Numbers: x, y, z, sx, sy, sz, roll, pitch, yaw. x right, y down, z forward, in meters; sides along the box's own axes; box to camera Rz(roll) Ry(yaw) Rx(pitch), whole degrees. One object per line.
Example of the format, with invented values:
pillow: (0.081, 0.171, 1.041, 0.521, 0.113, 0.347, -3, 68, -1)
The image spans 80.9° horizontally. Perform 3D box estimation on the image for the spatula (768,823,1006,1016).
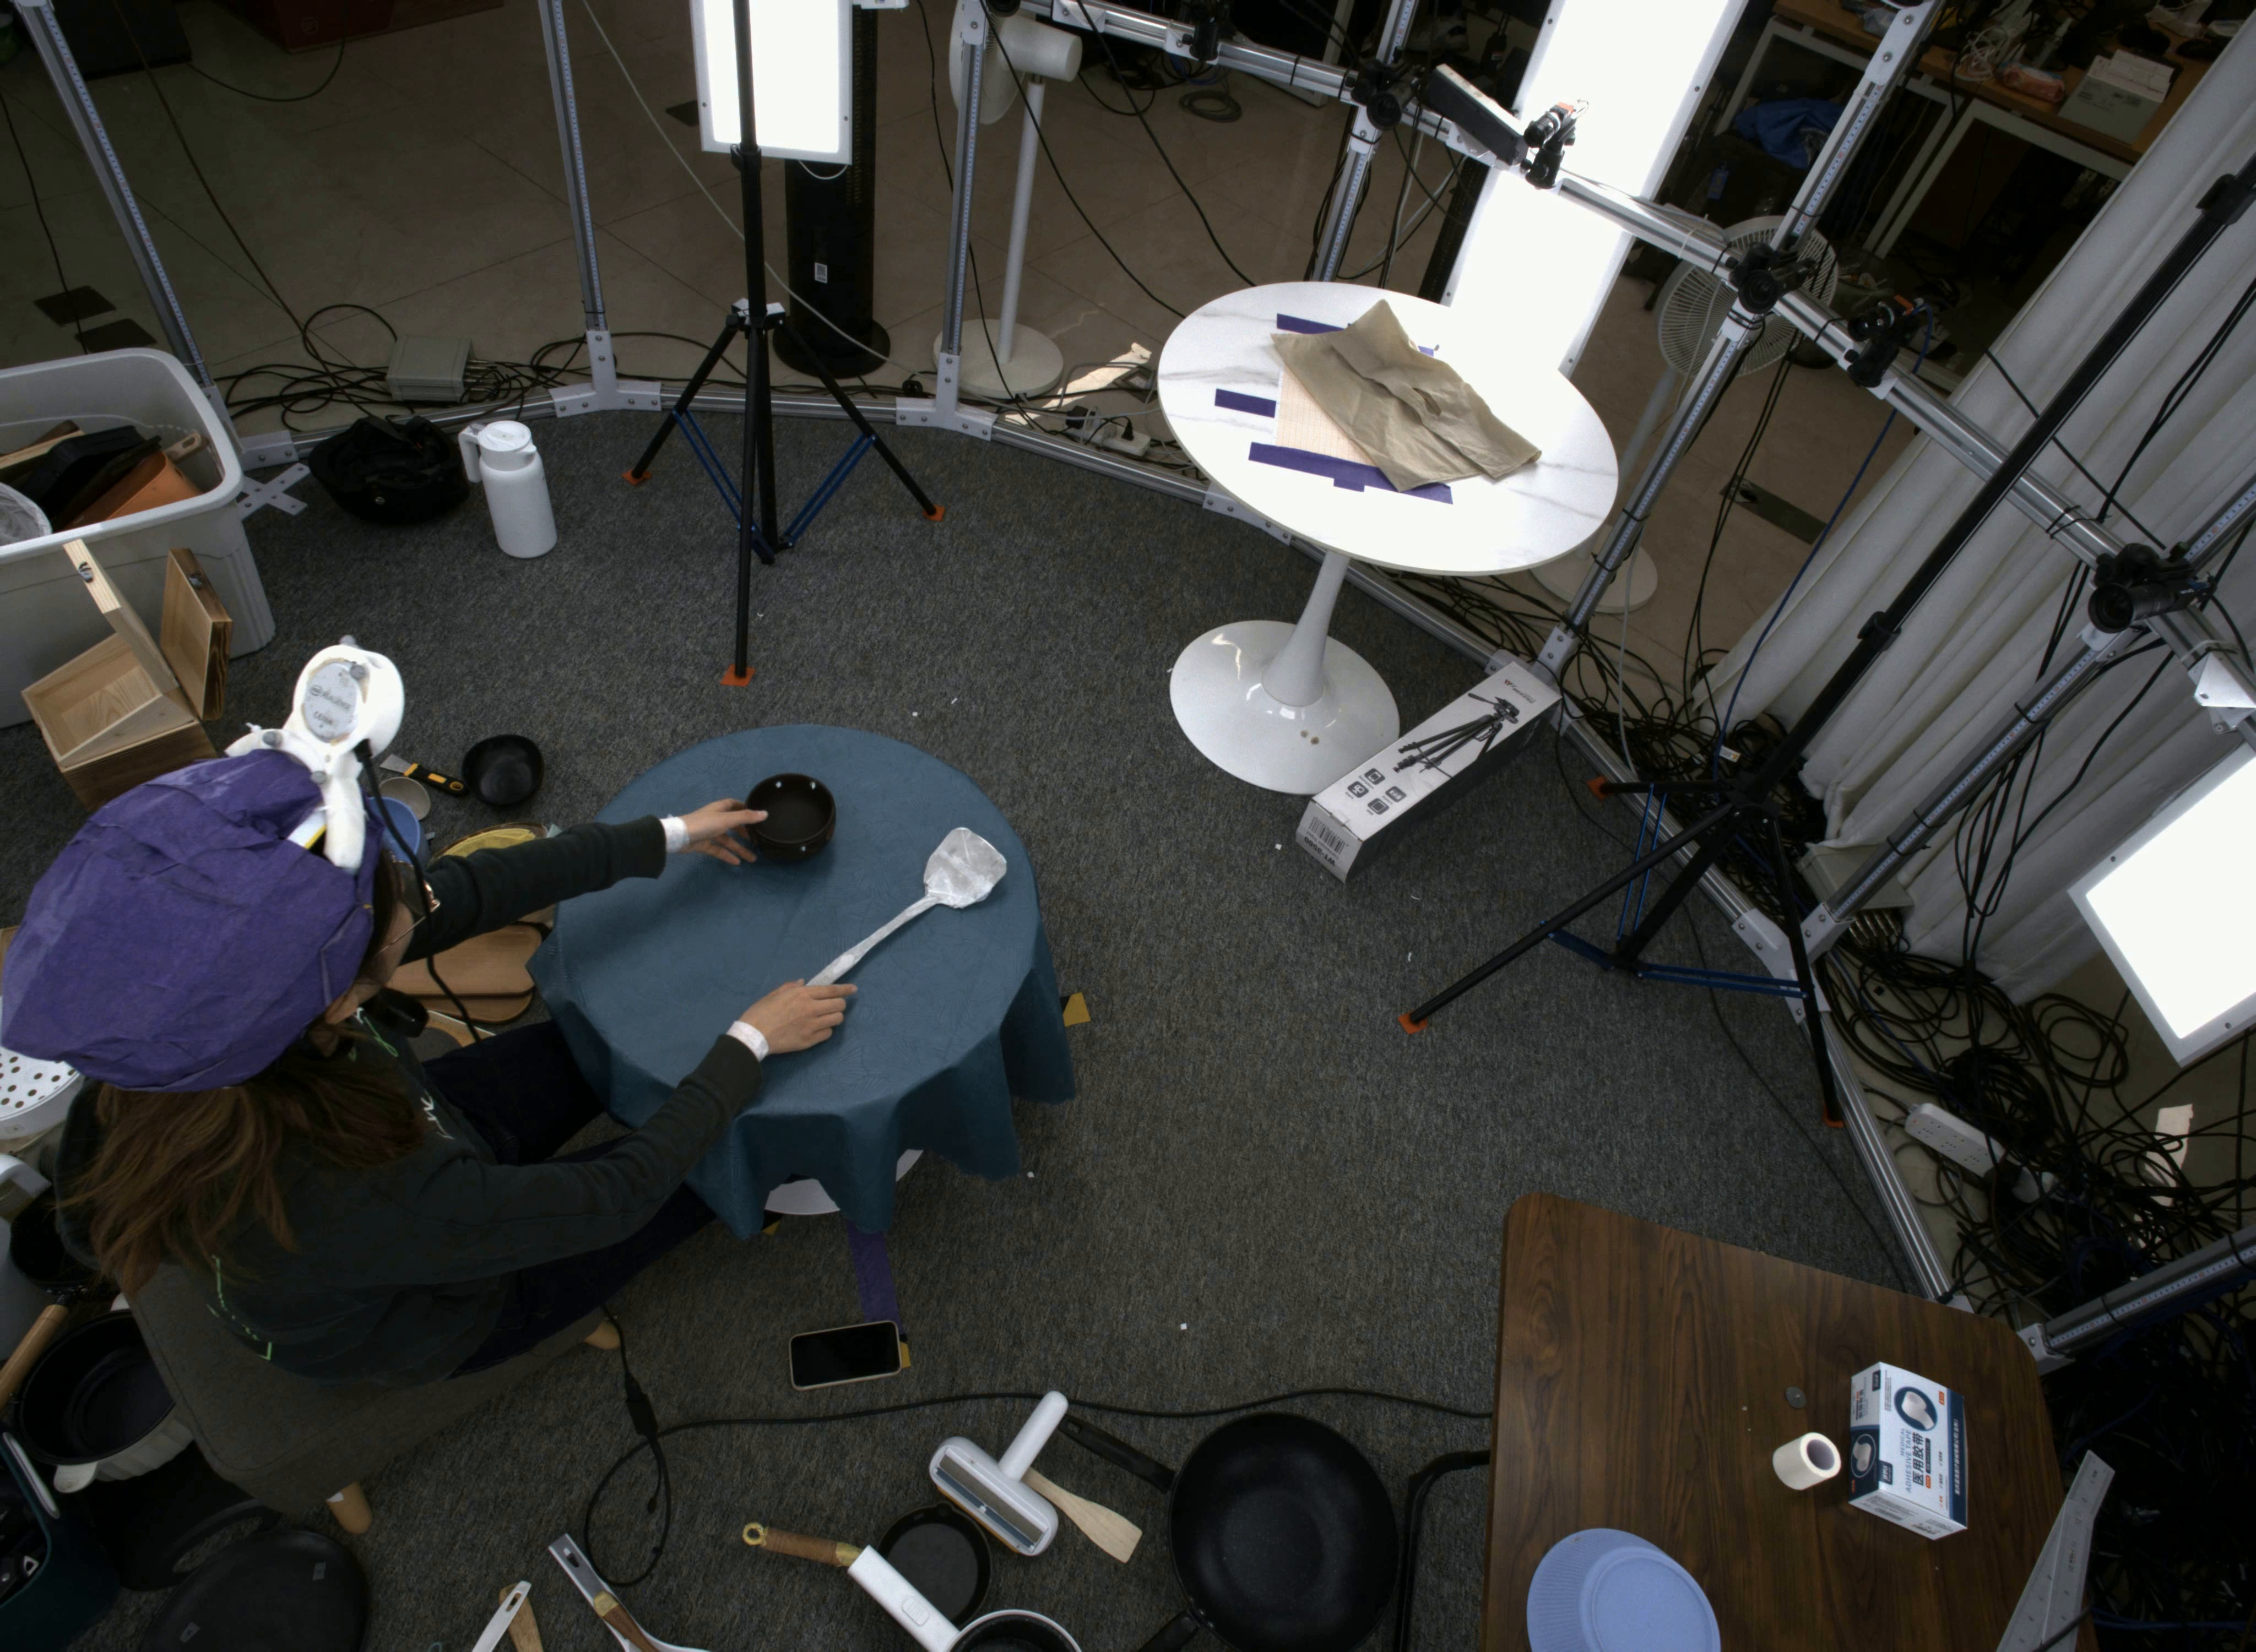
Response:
spatula: (-0.306, 0.124, 1.642, 0.097, 0.045, 0.365, 41, 55, 15)

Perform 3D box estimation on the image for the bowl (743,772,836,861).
bowl: (-0.438, -0.005, 1.683, 0.117, 0.071, 0.116, 6, 52, -6)
